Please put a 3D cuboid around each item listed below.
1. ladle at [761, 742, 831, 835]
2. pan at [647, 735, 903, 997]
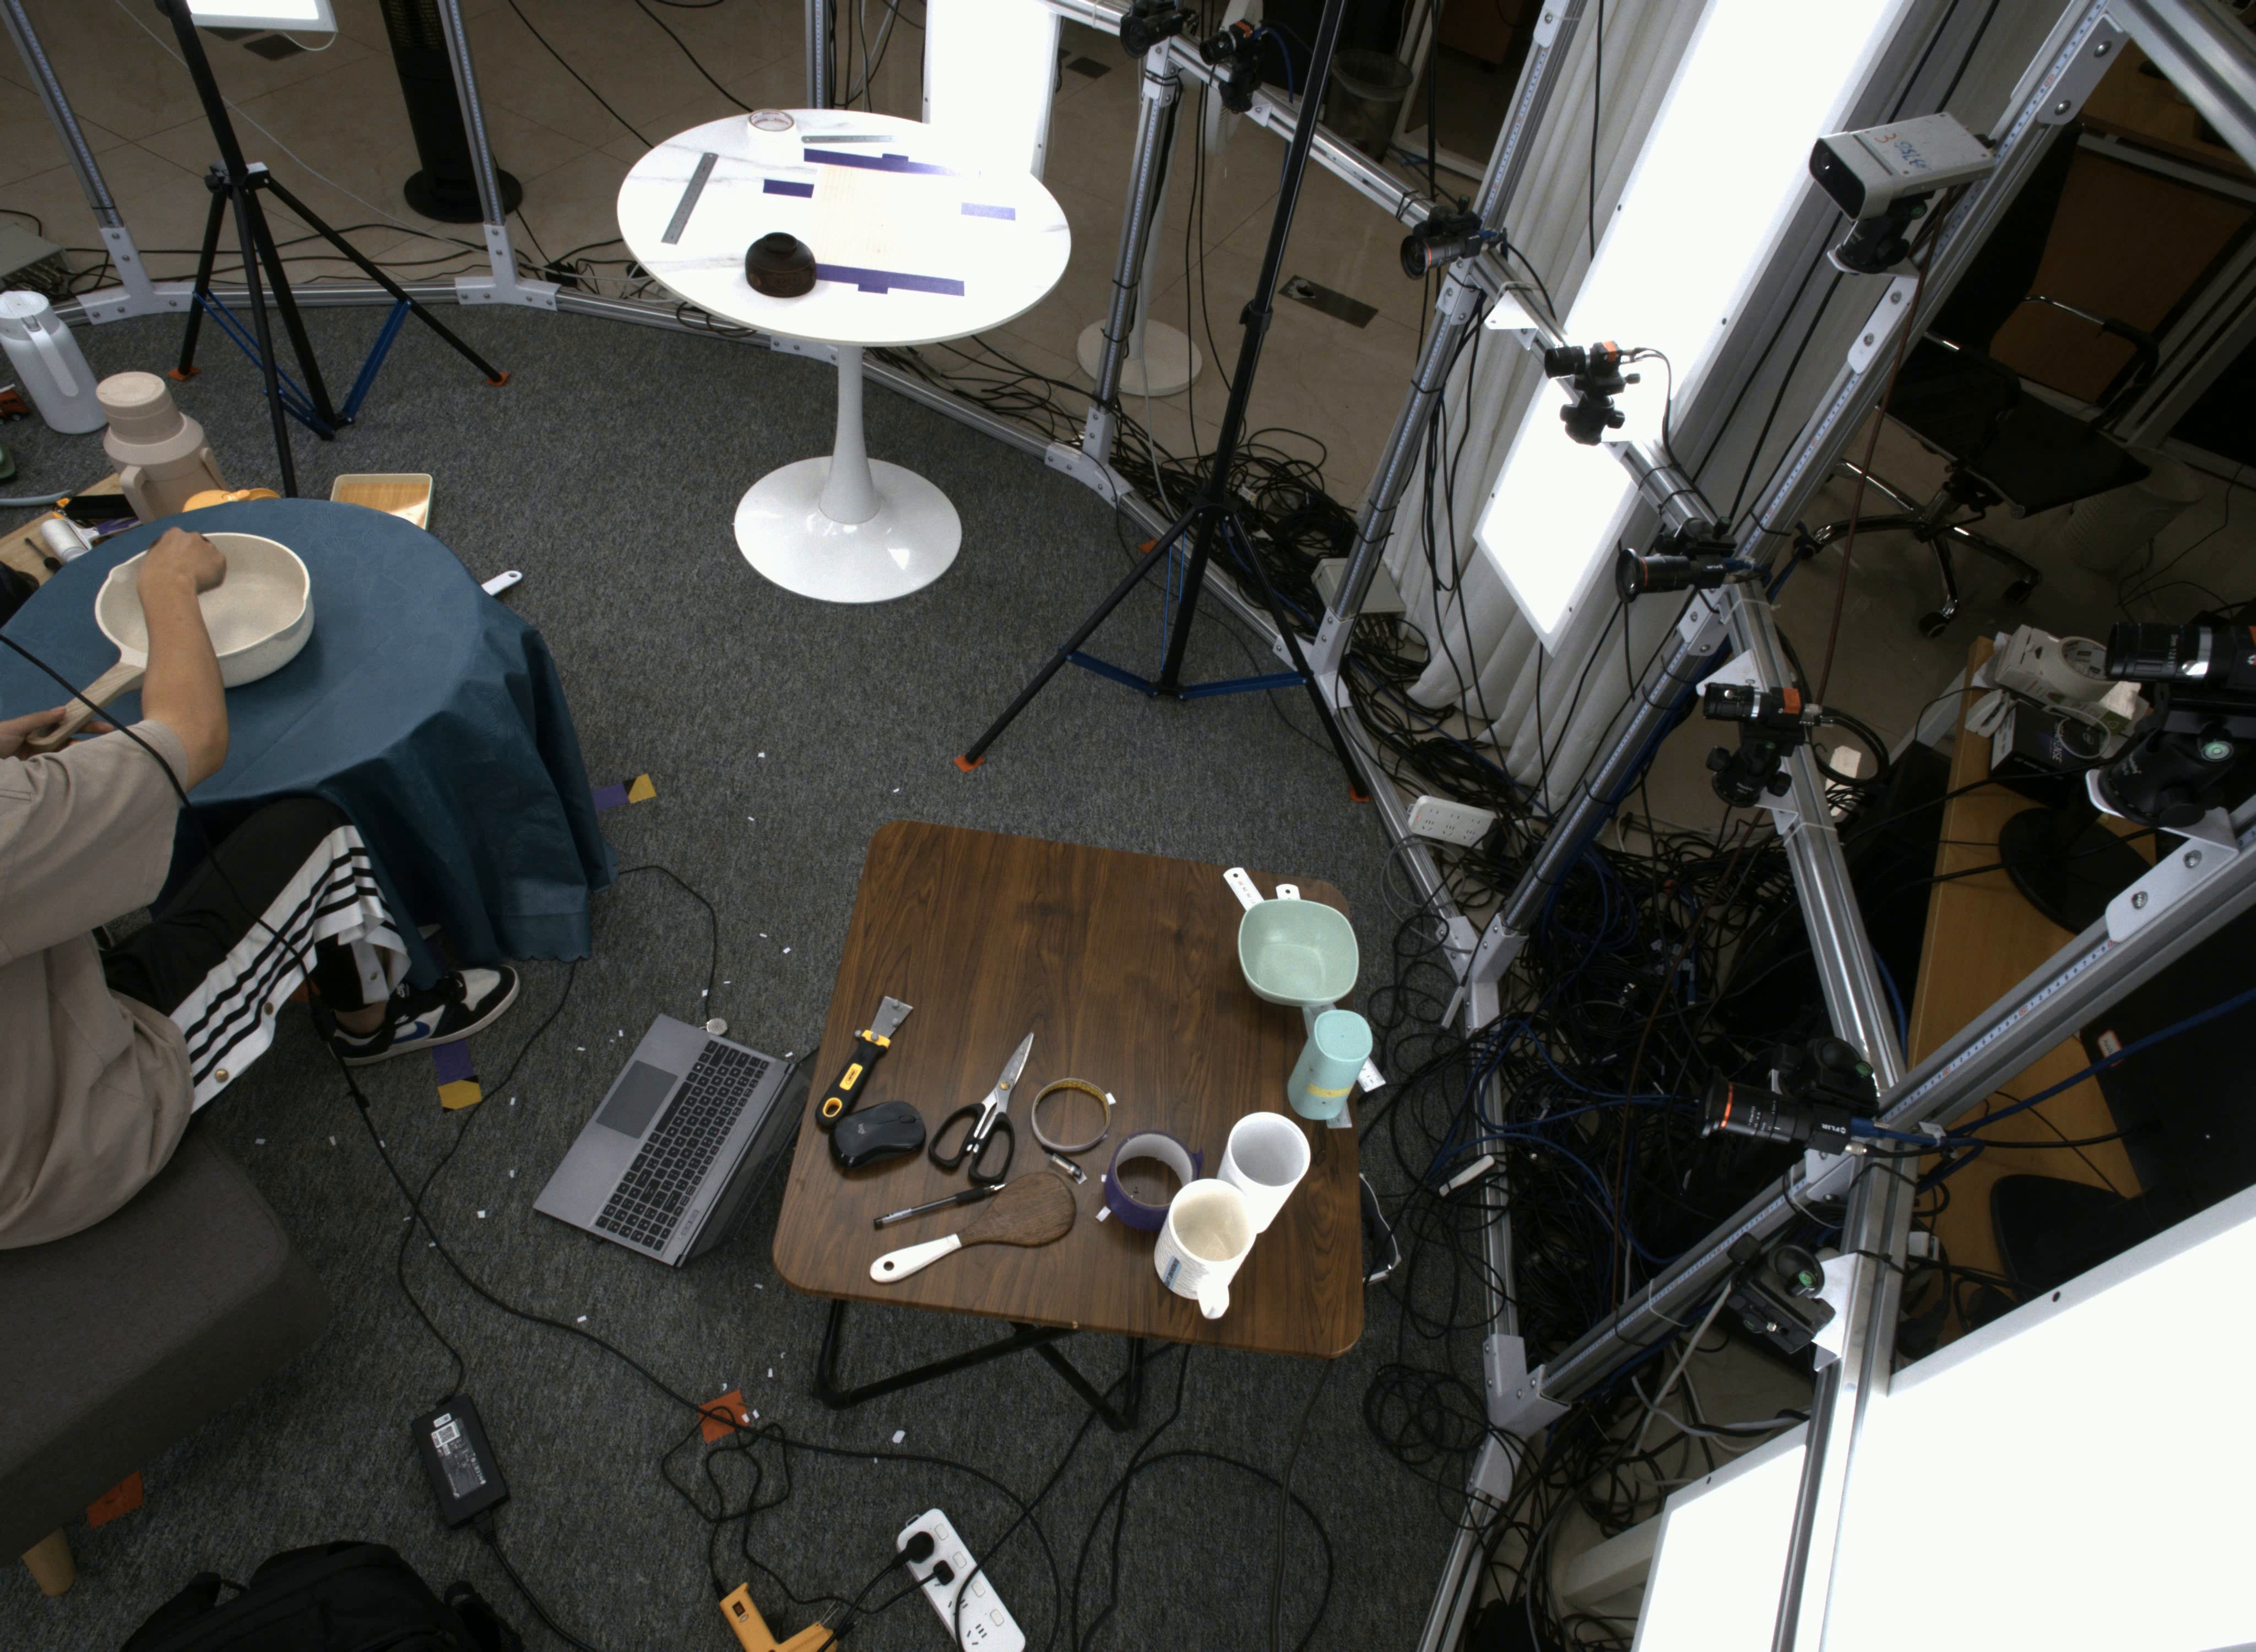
[{"bbox_3d":[-0.392,-0.052,1.557,0.082,0.267,0.079,-25,107,-14],"label":"ladle"},{"bbox_3d":[-0.455,0.063,1.617,0.260,0.104,0.432,27,53,6],"label":"pan"}]
